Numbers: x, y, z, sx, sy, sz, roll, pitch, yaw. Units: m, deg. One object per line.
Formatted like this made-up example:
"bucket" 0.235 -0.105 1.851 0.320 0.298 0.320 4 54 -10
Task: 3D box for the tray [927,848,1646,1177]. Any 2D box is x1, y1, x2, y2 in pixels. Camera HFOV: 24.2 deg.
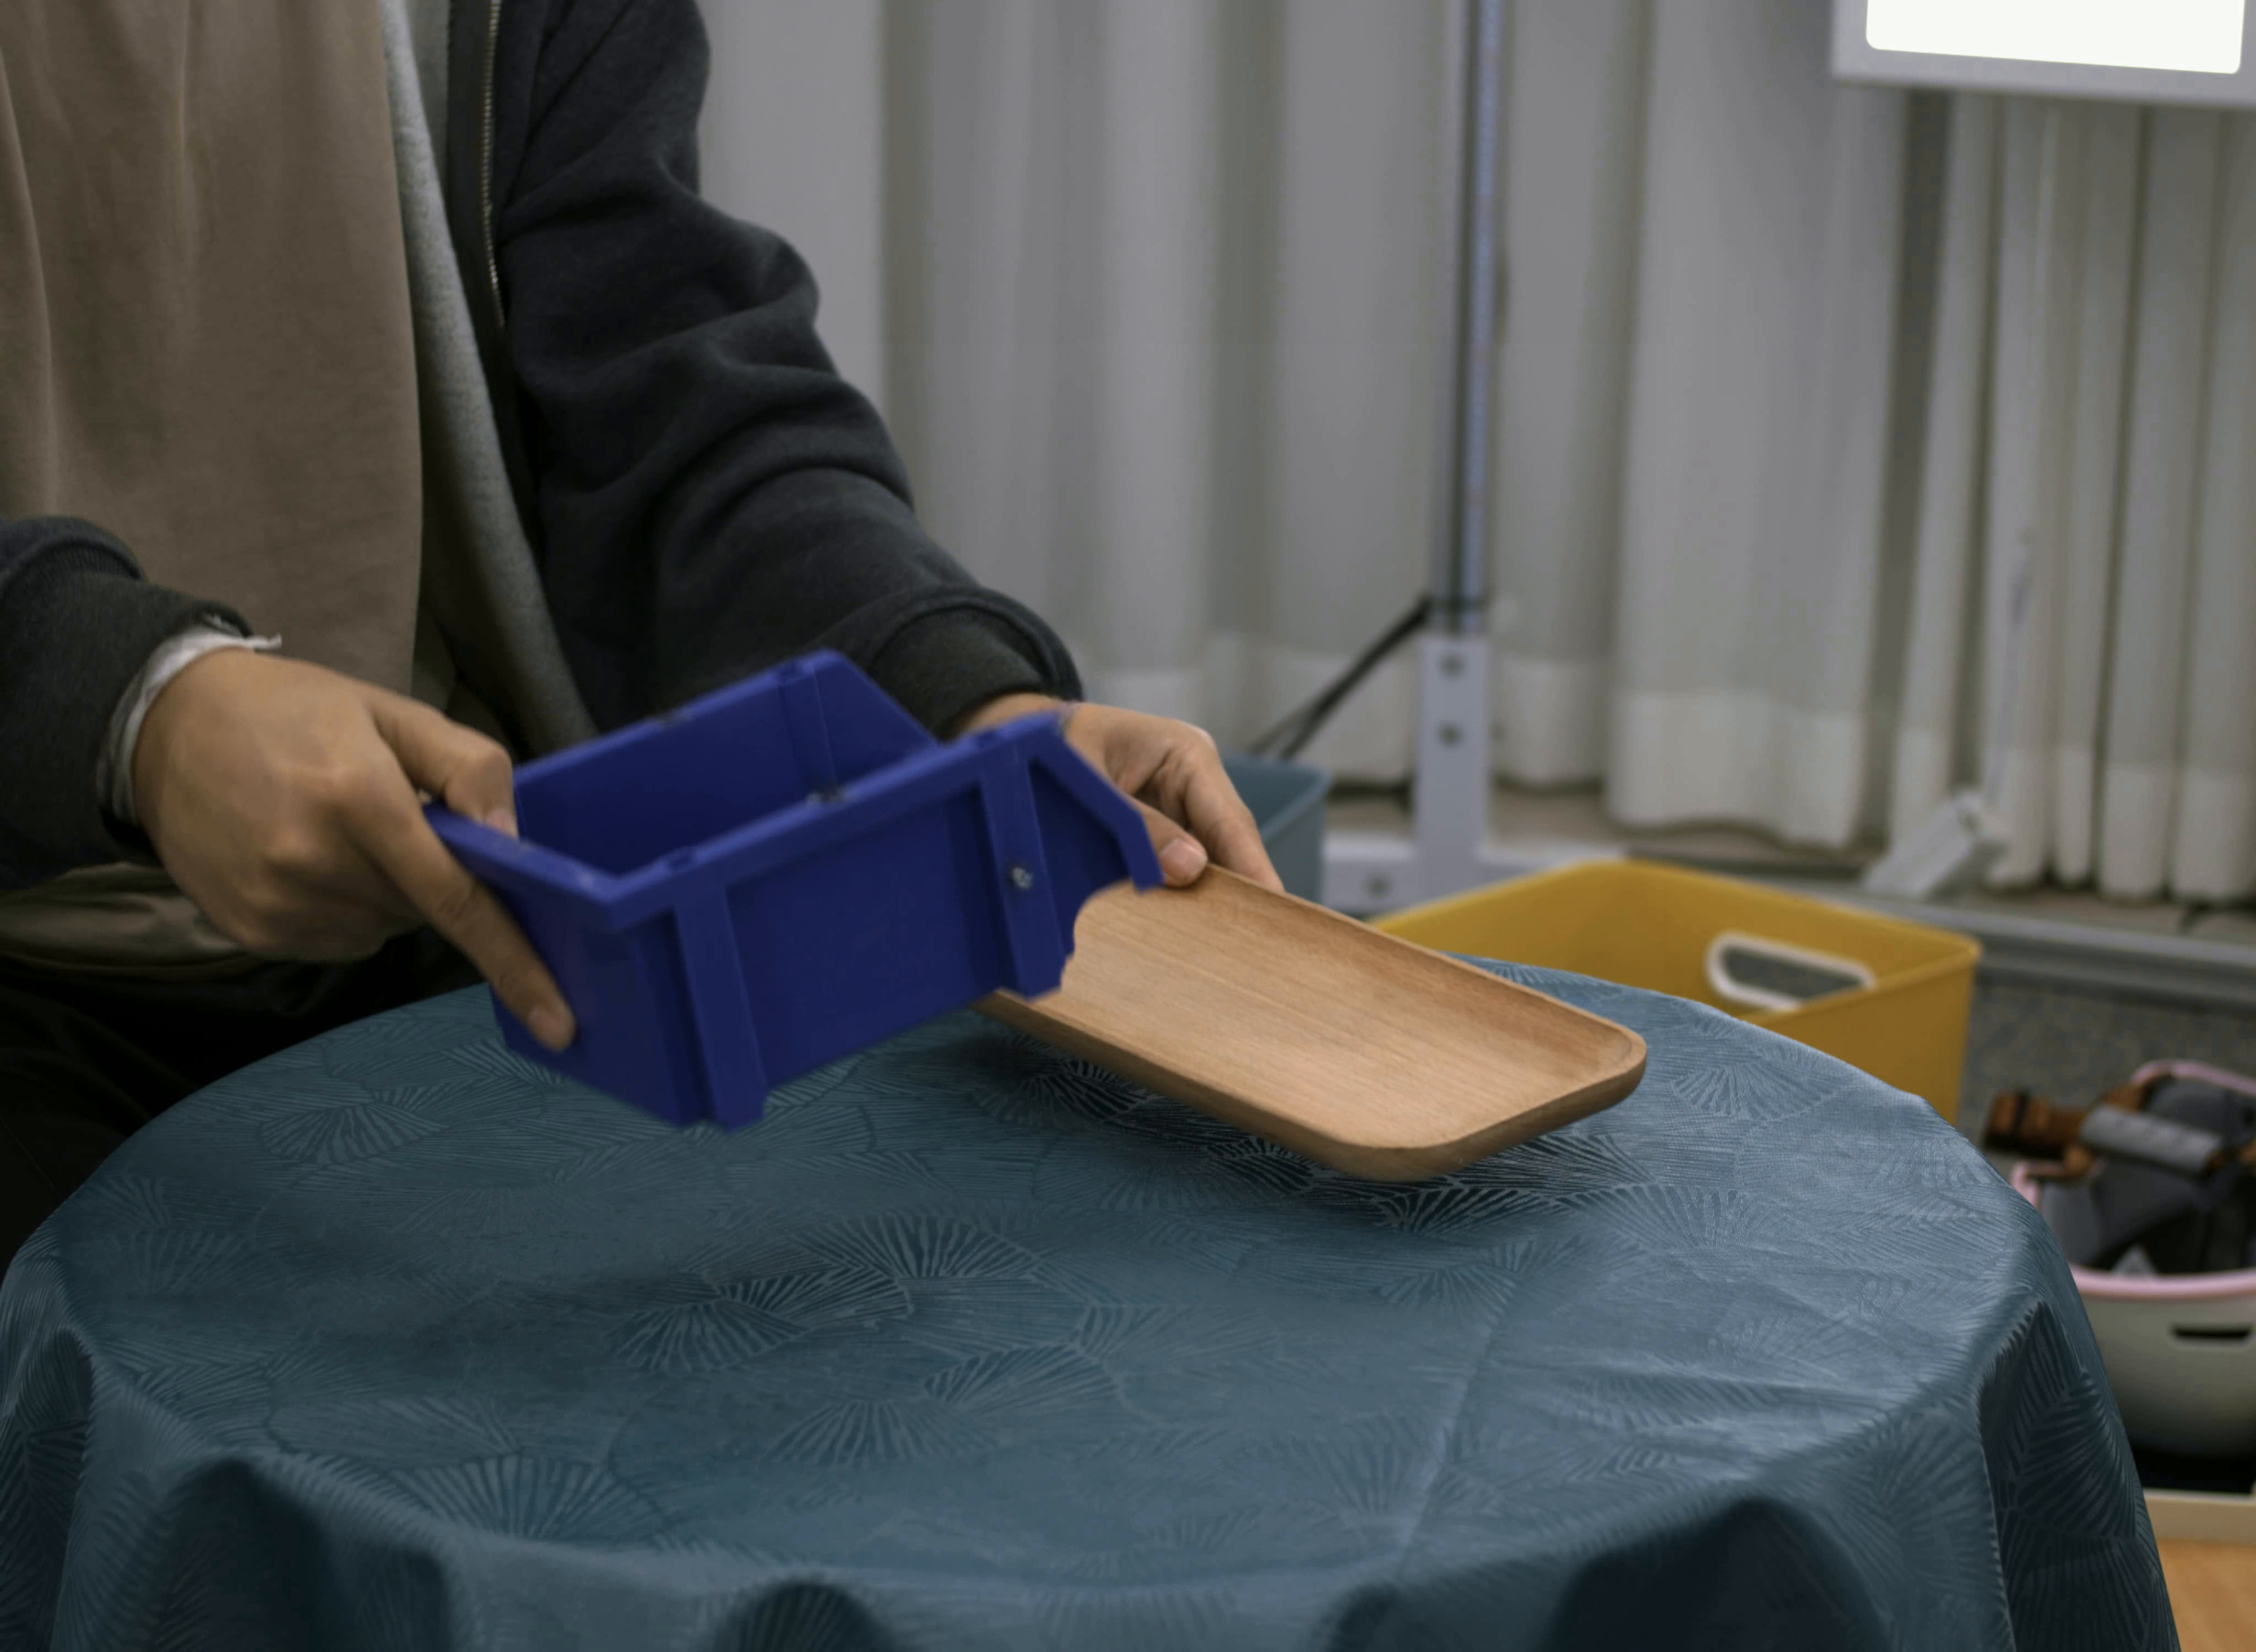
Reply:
"tray" 0.044 0.057 1.692 0.131 0.023 0.247 -15 24 -39

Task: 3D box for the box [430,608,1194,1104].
"box" -0.090 0.003 1.526 0.179 0.083 0.123 -26 25 -27
